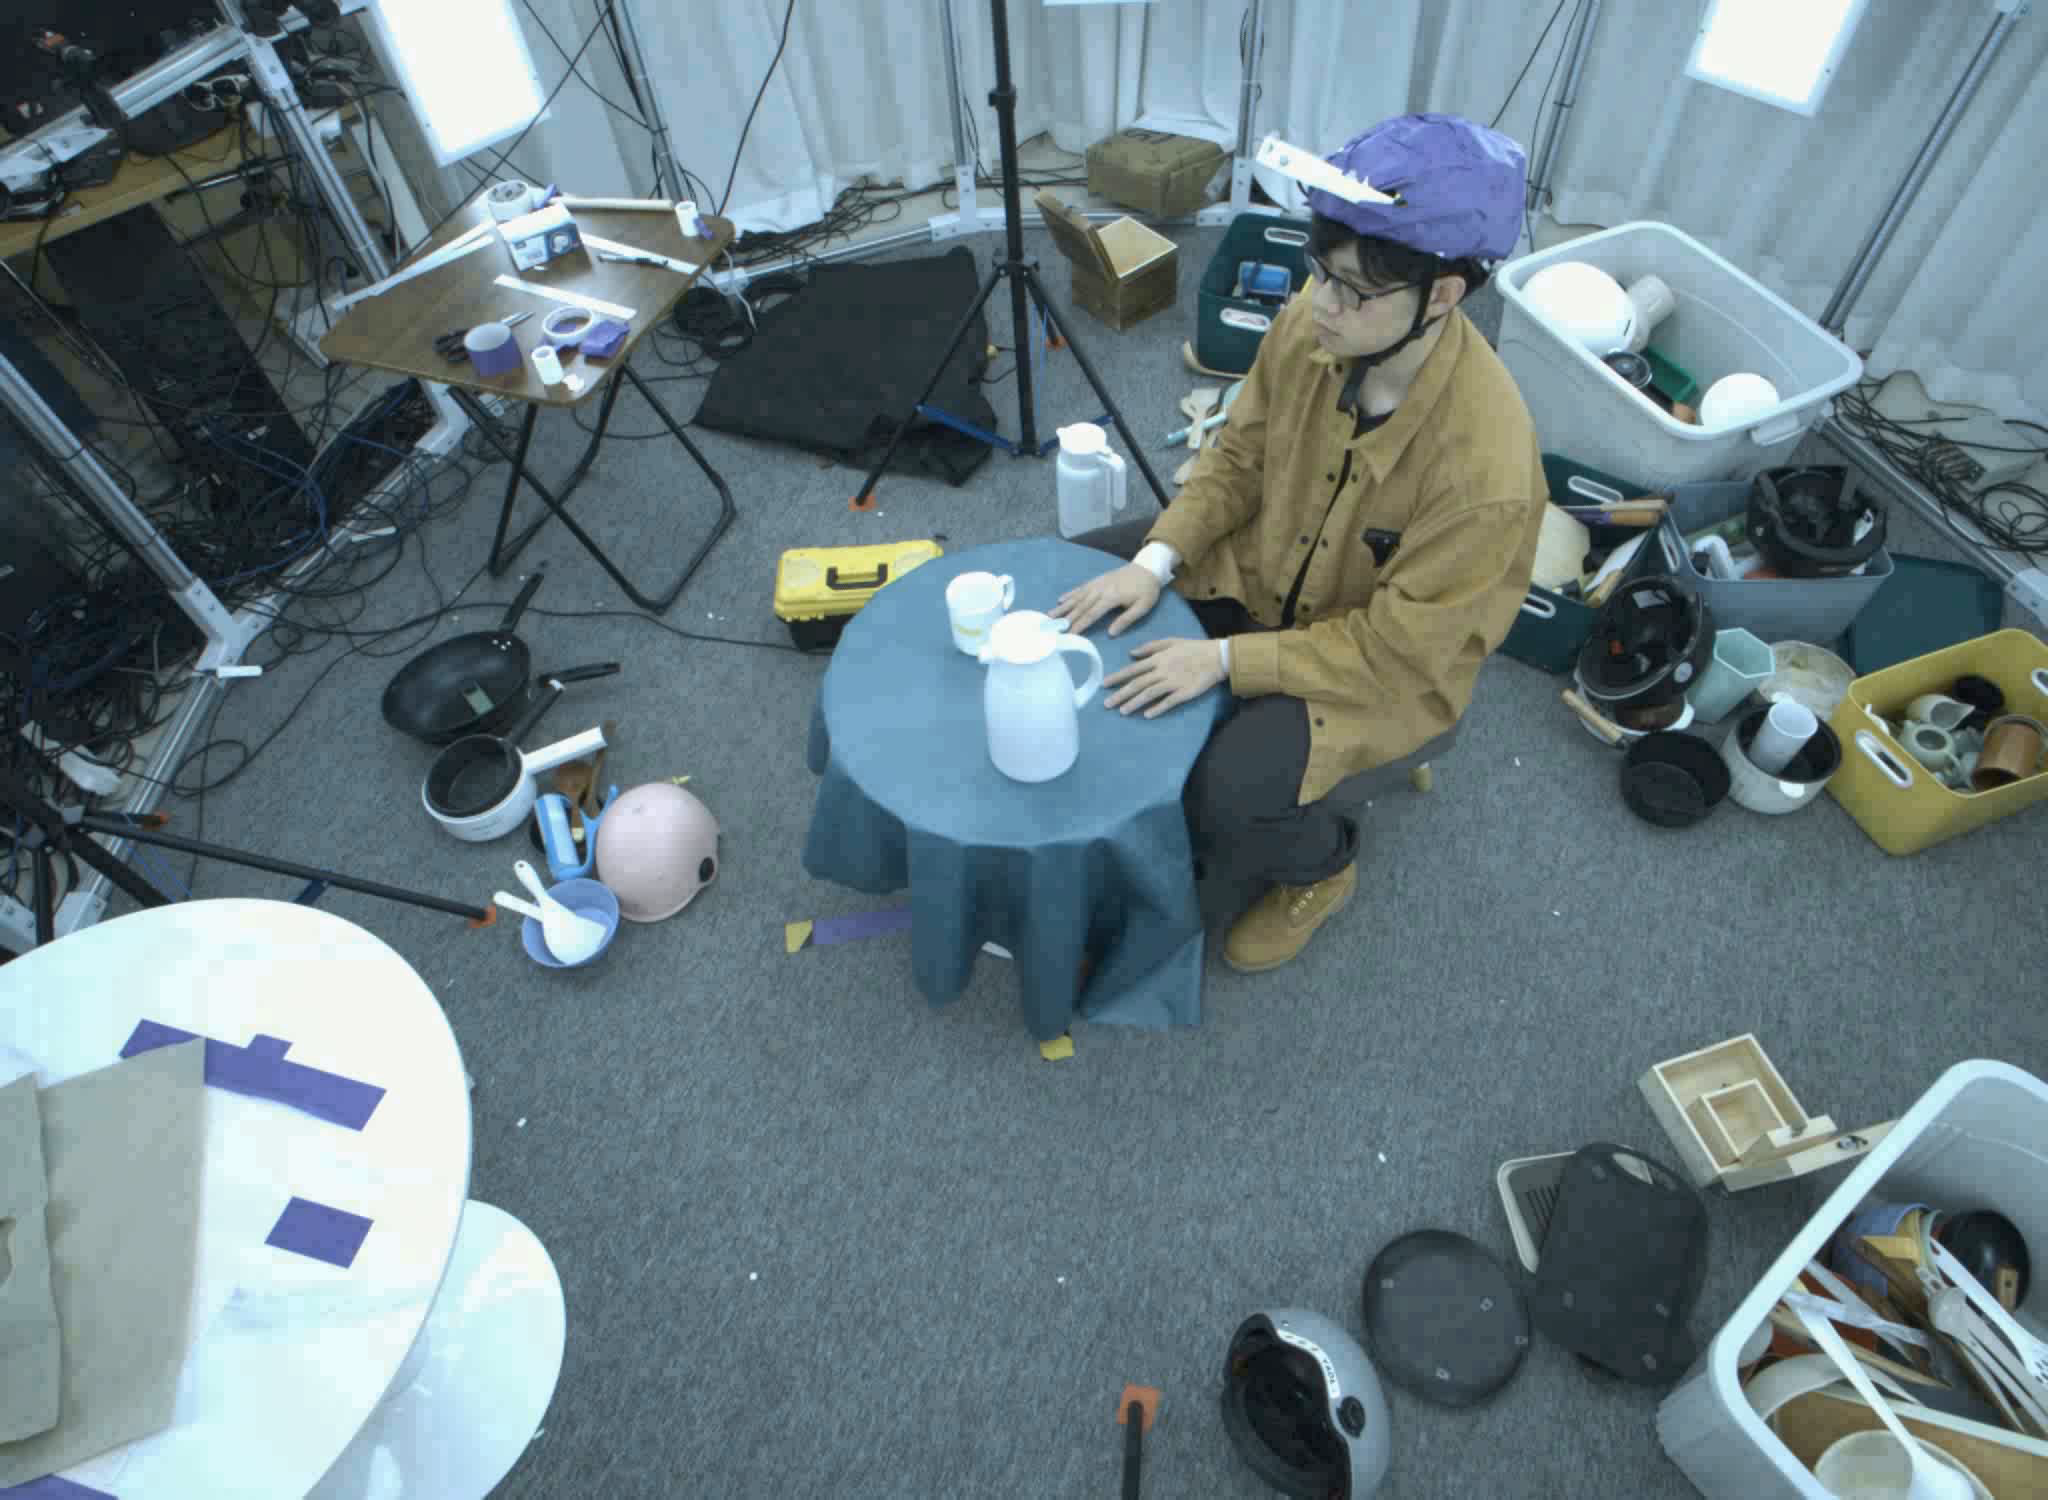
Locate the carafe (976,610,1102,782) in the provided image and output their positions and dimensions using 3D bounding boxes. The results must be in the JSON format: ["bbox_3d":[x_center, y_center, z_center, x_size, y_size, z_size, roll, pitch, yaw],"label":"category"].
[{"bbox_3d":[0.024,-0.085,1.689,0.168,0.251,0.130,-14,54,-7],"label":"carafe"}]

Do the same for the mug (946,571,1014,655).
[{"bbox_3d":[-0.062,-0.217,1.876,0.083,0.103,0.119,36,63,25],"label":"mug"}]
